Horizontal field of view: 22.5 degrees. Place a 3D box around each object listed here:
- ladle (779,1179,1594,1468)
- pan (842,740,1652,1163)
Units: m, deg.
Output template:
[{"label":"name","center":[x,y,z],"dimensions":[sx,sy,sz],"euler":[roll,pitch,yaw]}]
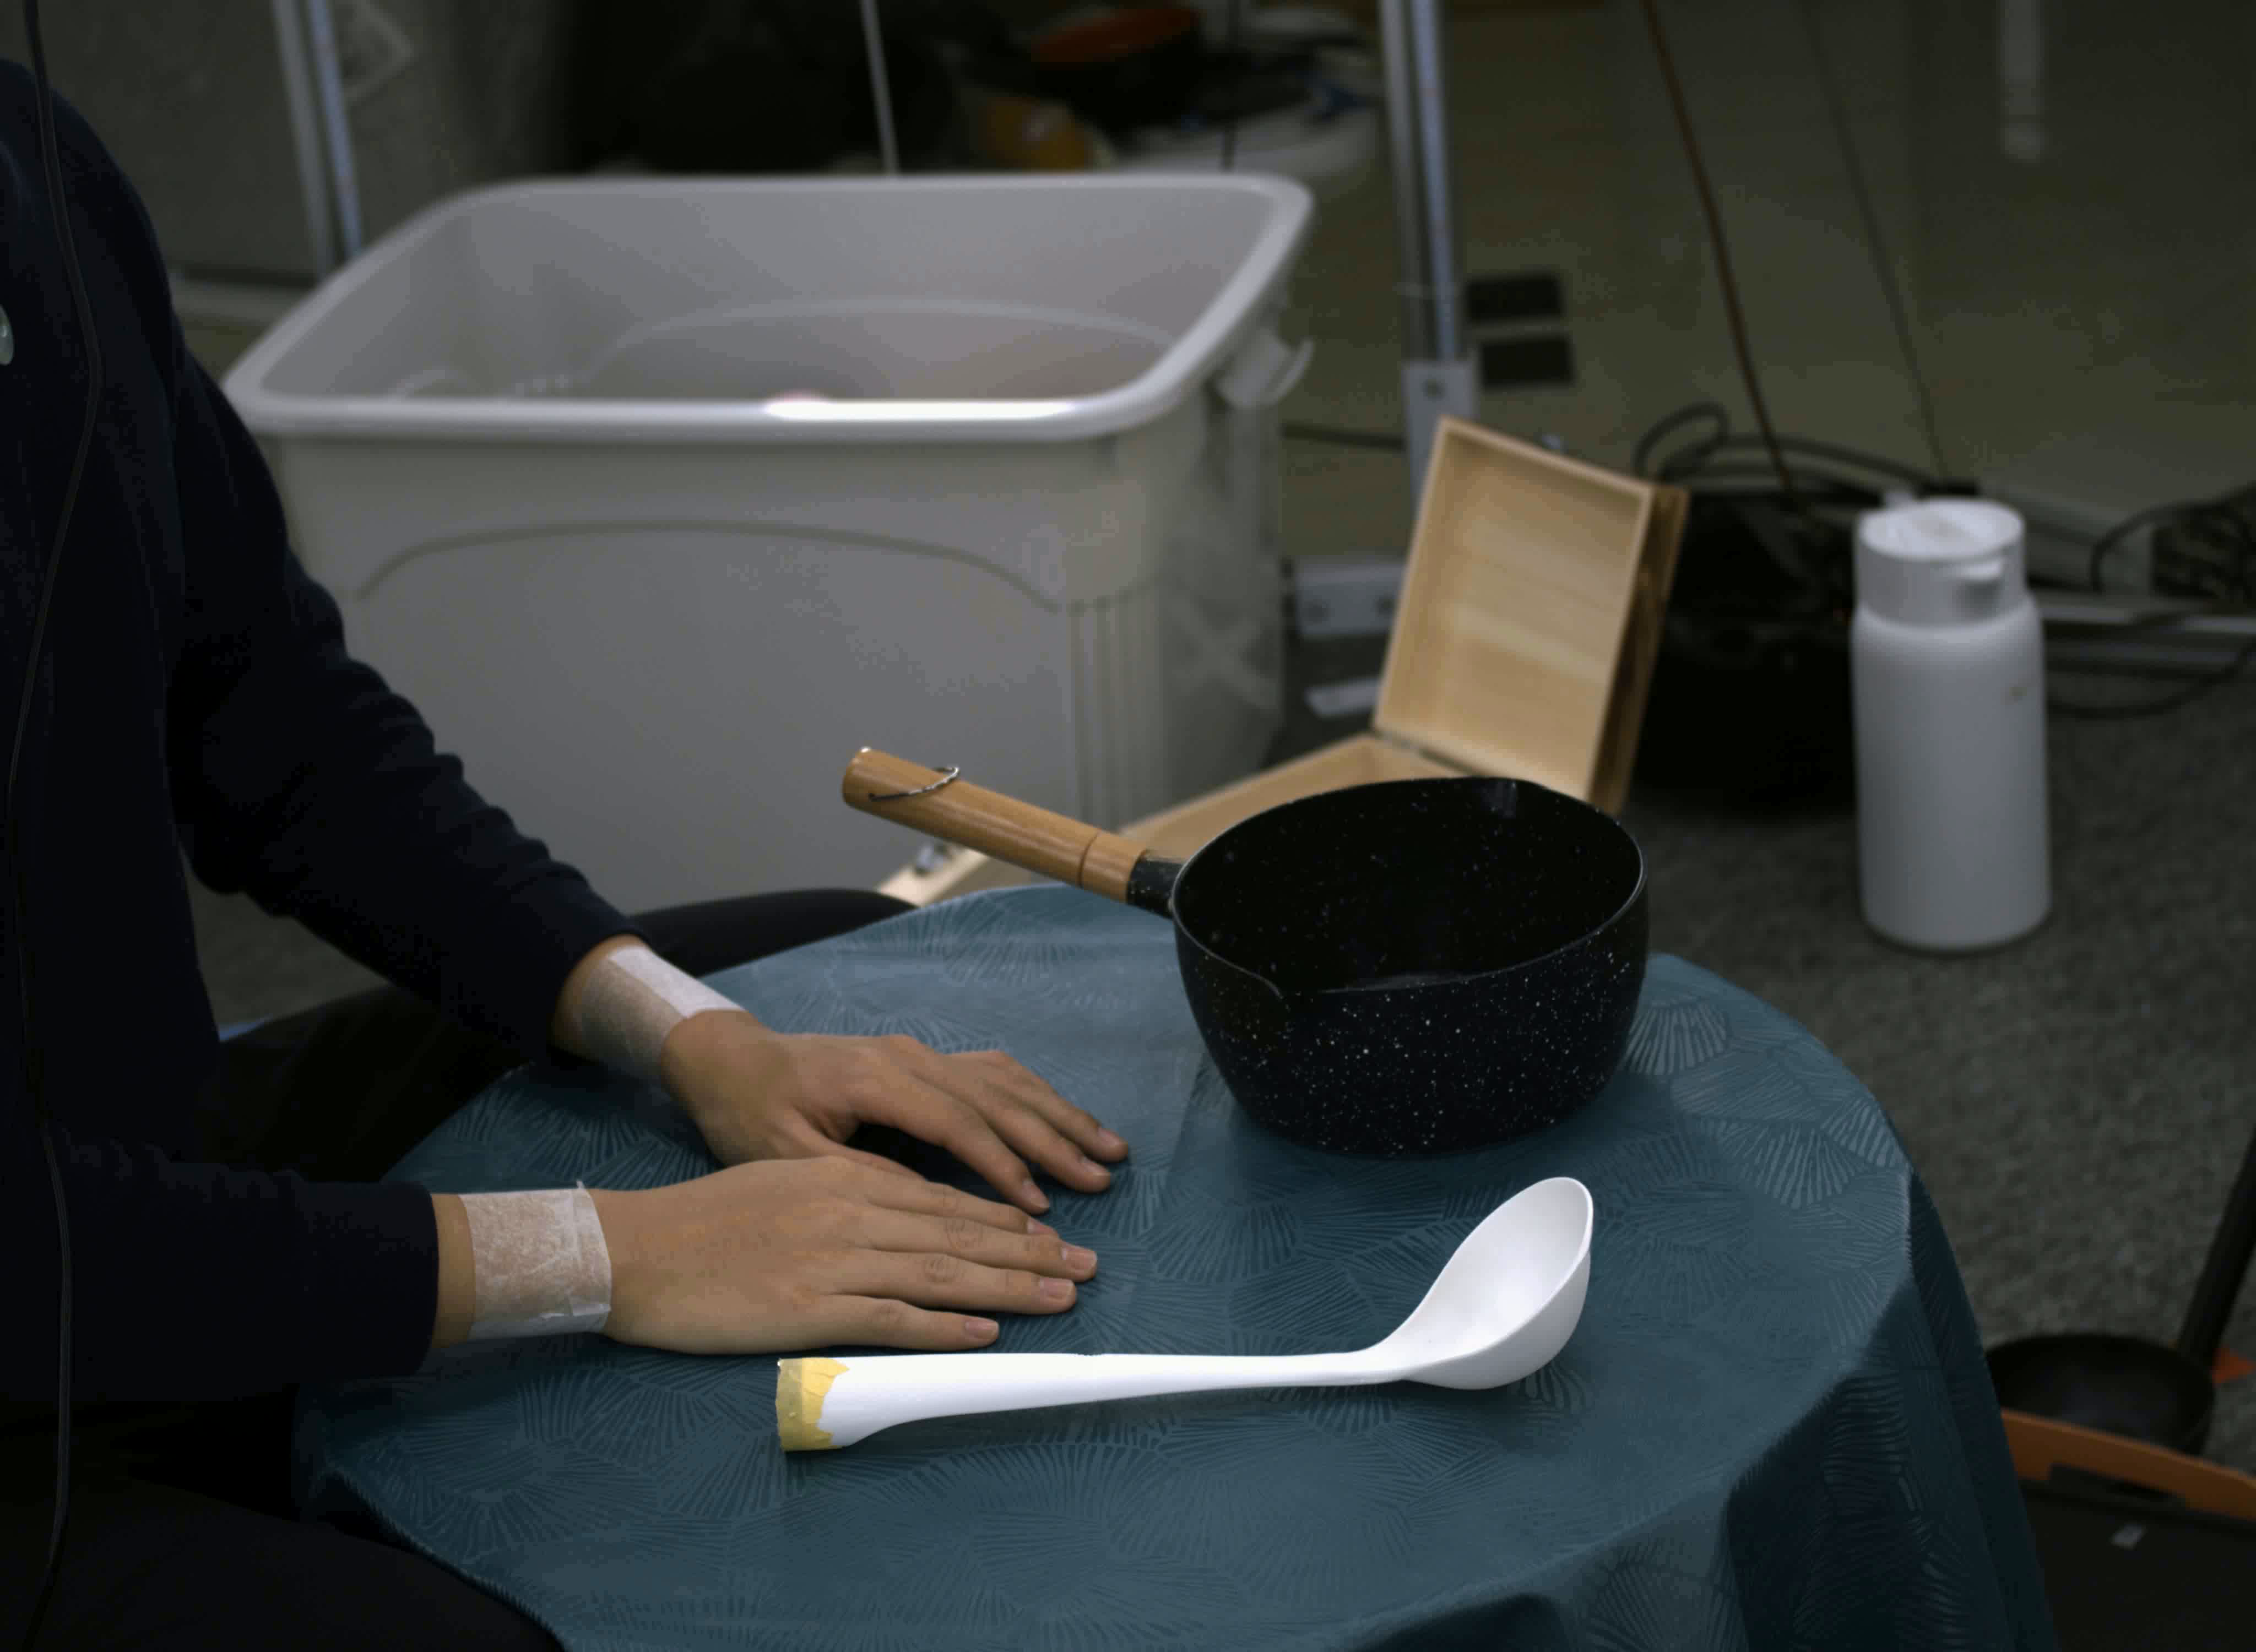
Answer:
[{"label":"ladle","center":[0.020,0.179,1.981],"dimensions":[0.292,0.071,0.088],"euler":[-6,32,3]},{"label":"pan","center":[0.040,0.038,2.223],"dimensions":[0.341,0.110,0.205],"euler":[8,30,26]}]
